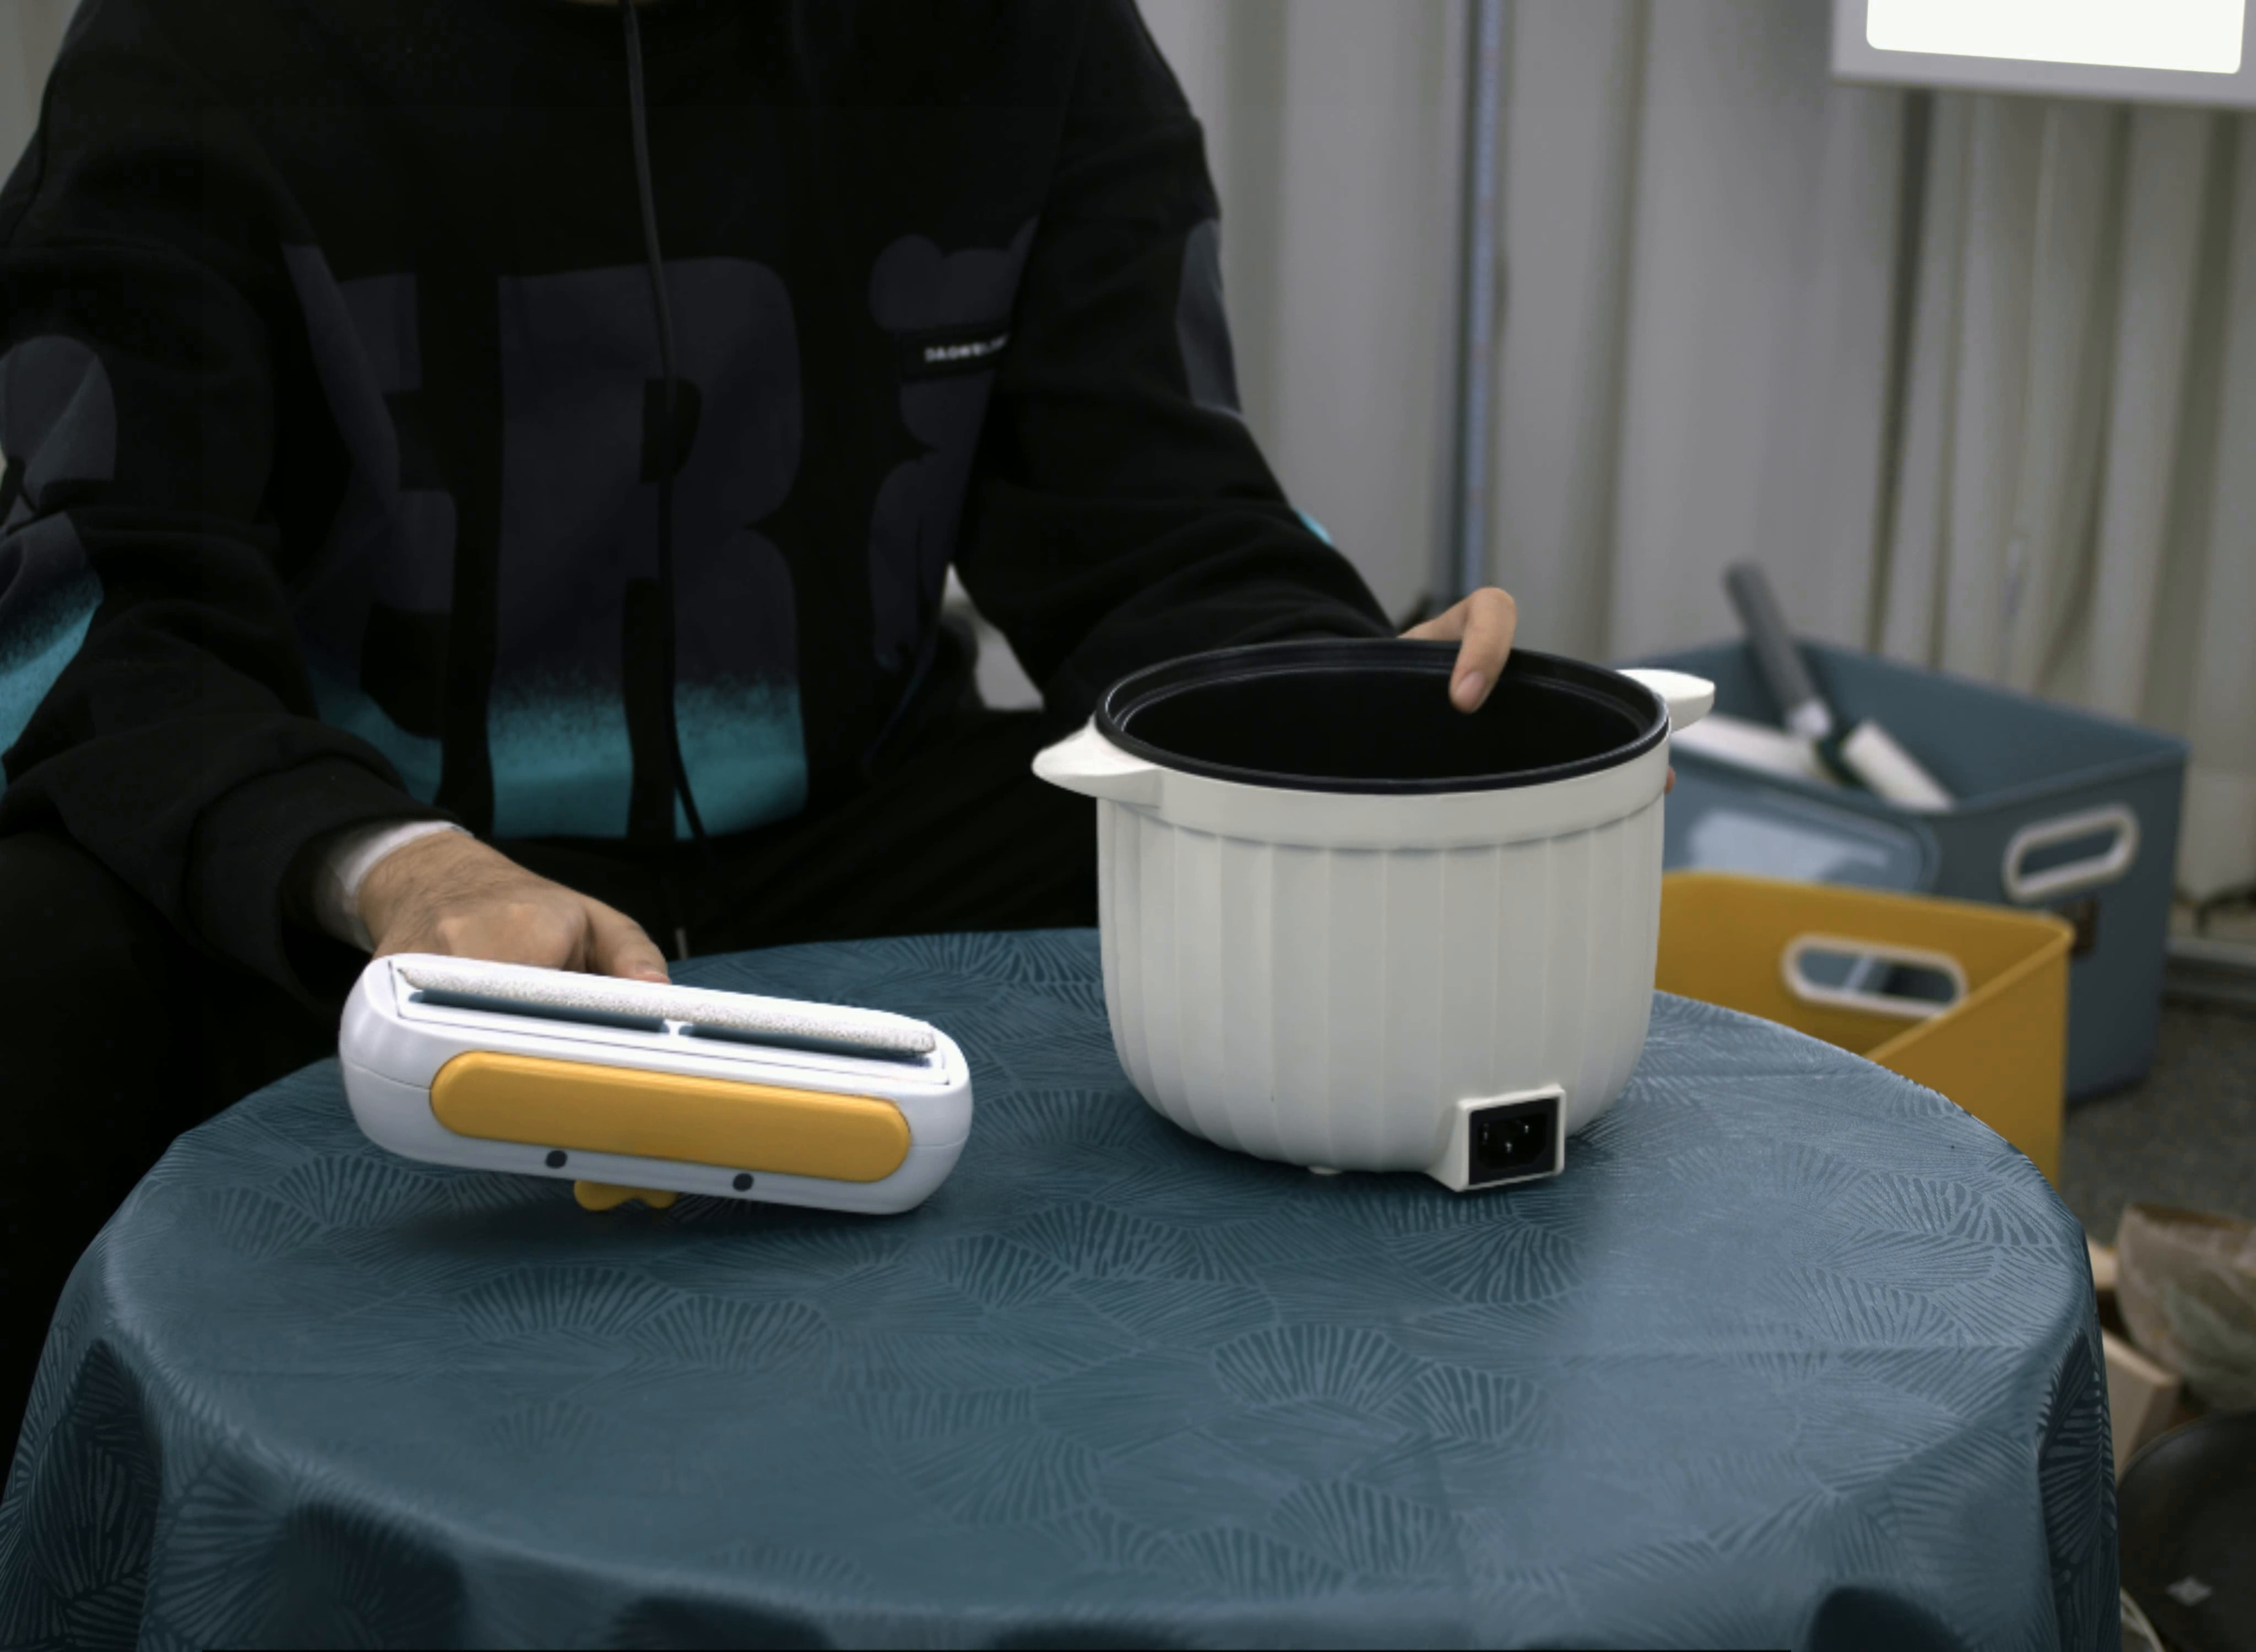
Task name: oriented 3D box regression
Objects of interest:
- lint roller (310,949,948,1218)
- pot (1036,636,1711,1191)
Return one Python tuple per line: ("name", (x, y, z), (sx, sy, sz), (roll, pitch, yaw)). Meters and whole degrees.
("lint roller", (-0.160, 0.070, 1.640), (0.193, 0.074, 0.191), (4, 13, -12))
("pot", (0.076, 0.025, 1.675), (0.241, 0.144, 0.188), (-6, 20, -27))
